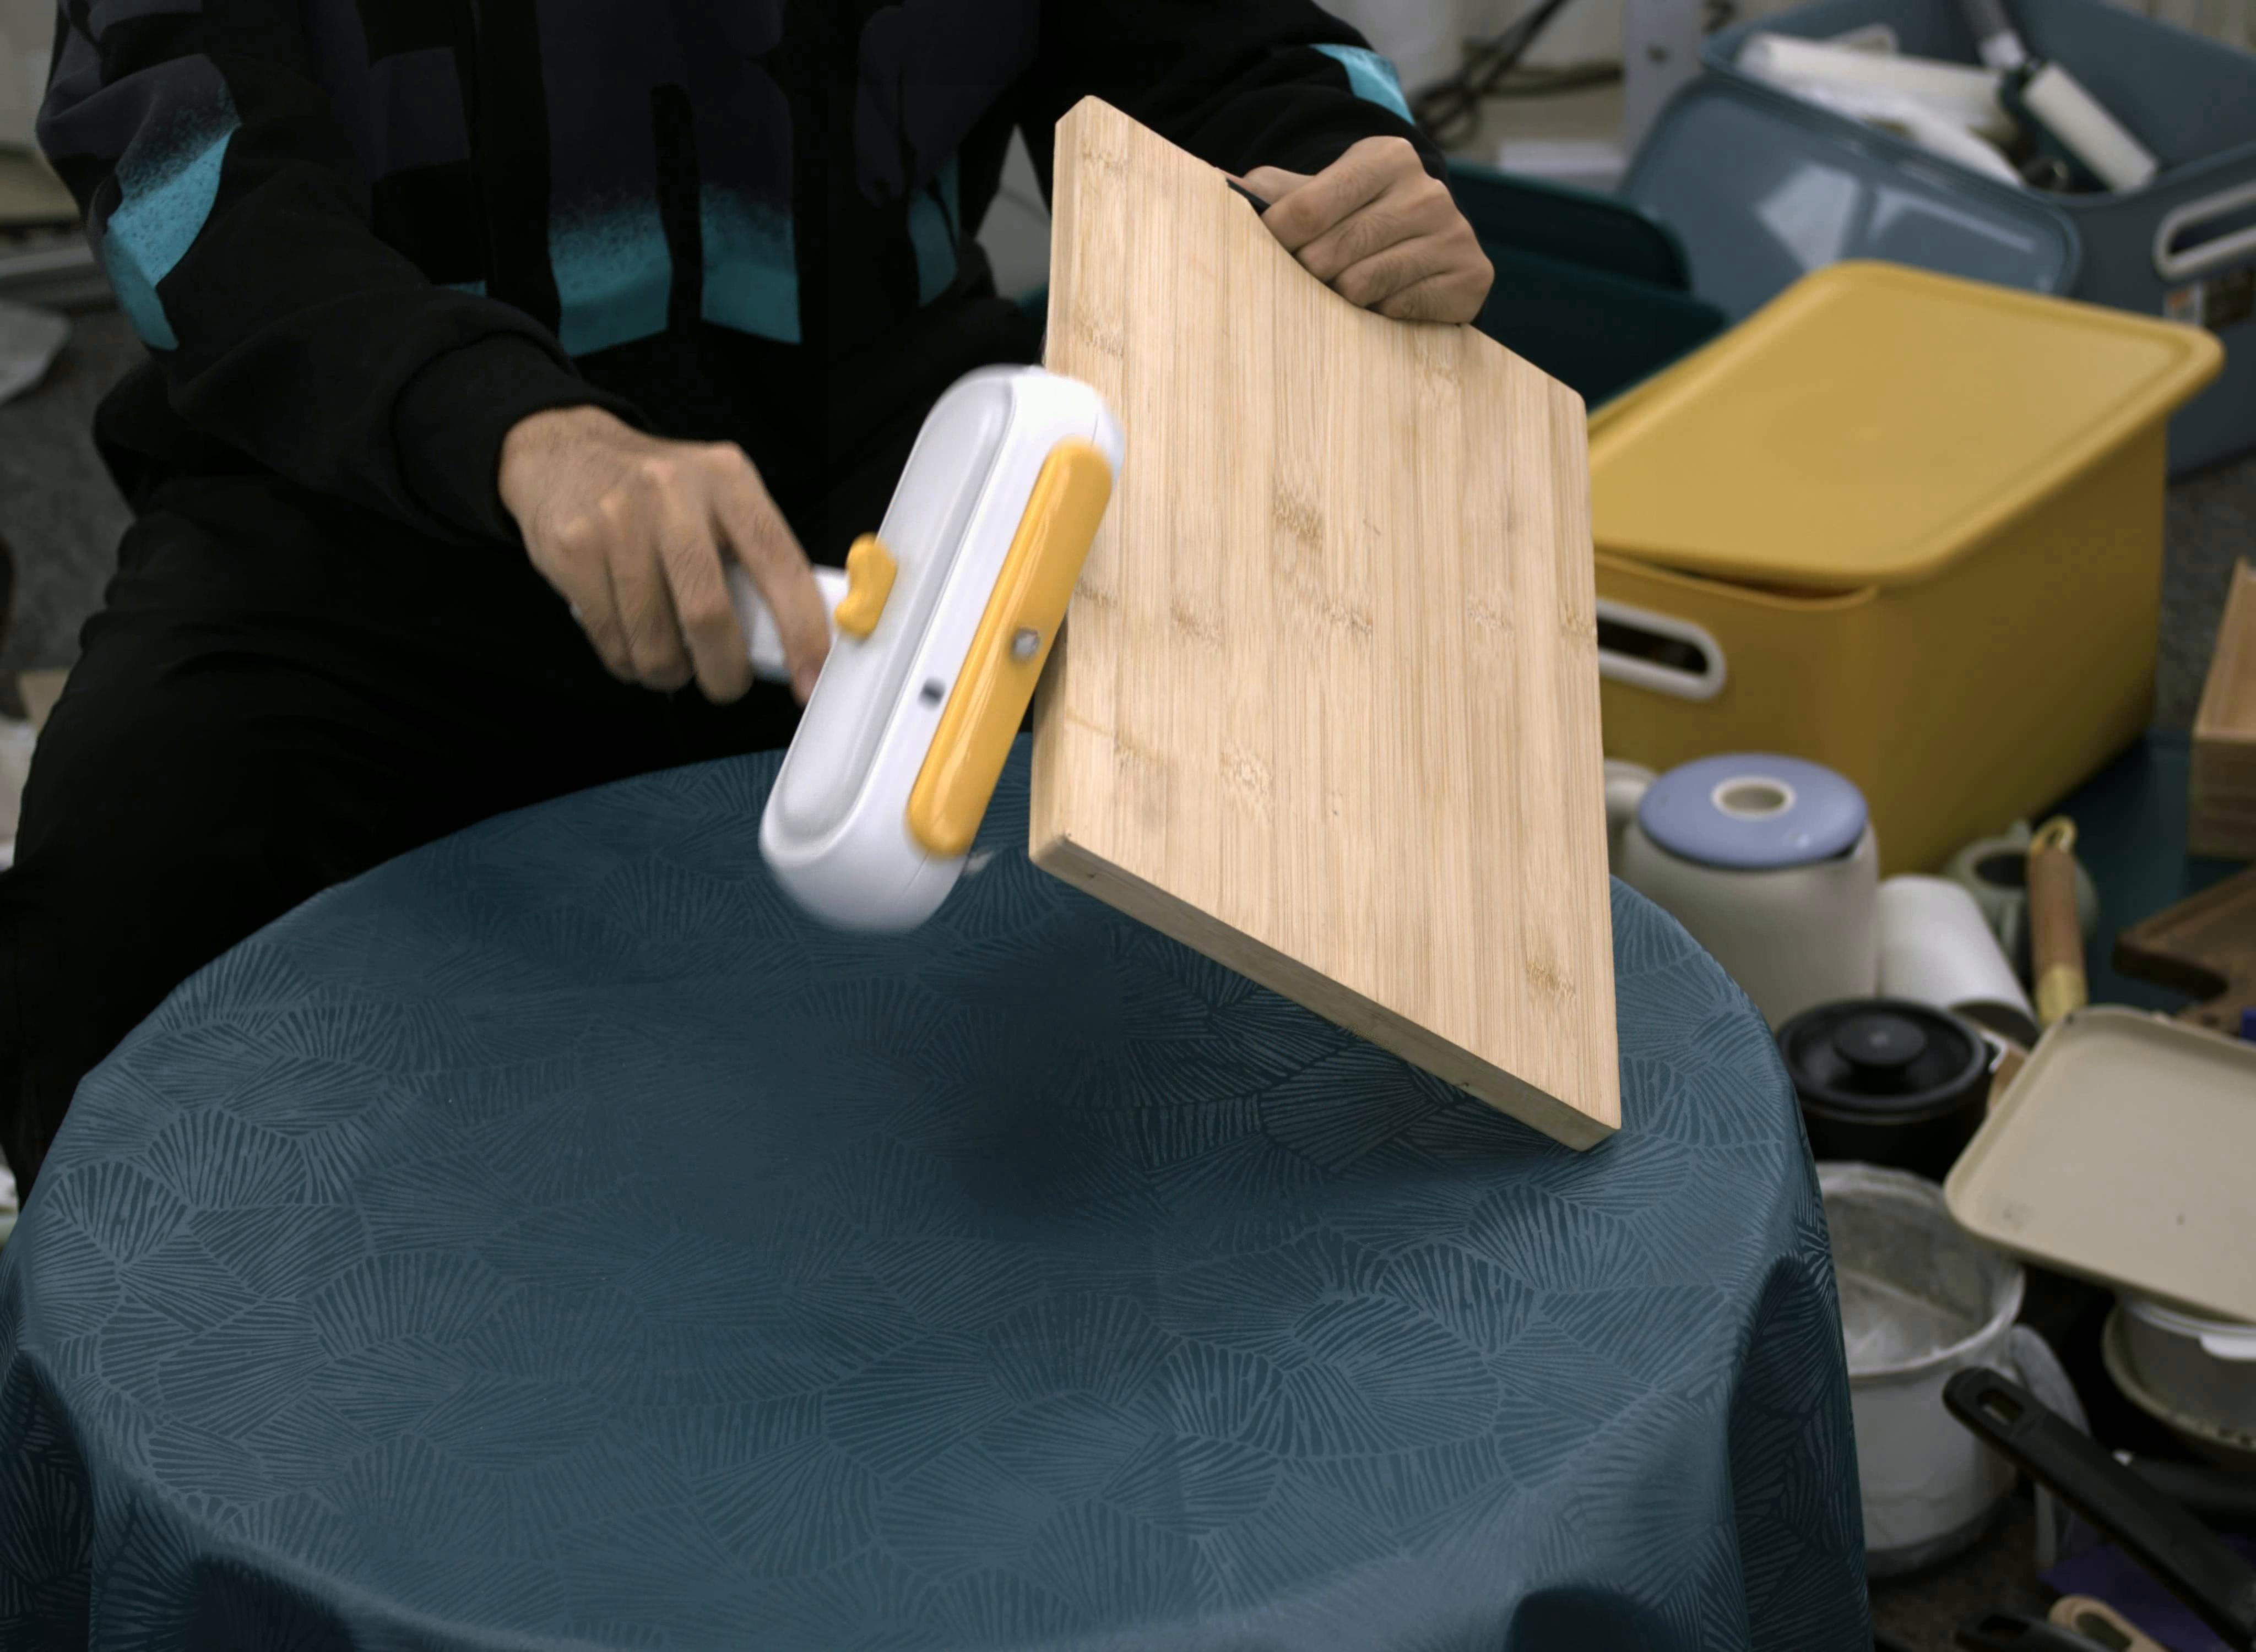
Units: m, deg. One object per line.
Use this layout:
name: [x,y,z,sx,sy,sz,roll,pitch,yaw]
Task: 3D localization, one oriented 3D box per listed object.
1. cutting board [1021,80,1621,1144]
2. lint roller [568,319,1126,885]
cutting board: [0.069,-0.078,1.927,0.249,0.023,0.356,29,42,-29]
lint roller: [-0.101,-0.075,1.845,0.190,0.195,0.074,-1,-24,43]
